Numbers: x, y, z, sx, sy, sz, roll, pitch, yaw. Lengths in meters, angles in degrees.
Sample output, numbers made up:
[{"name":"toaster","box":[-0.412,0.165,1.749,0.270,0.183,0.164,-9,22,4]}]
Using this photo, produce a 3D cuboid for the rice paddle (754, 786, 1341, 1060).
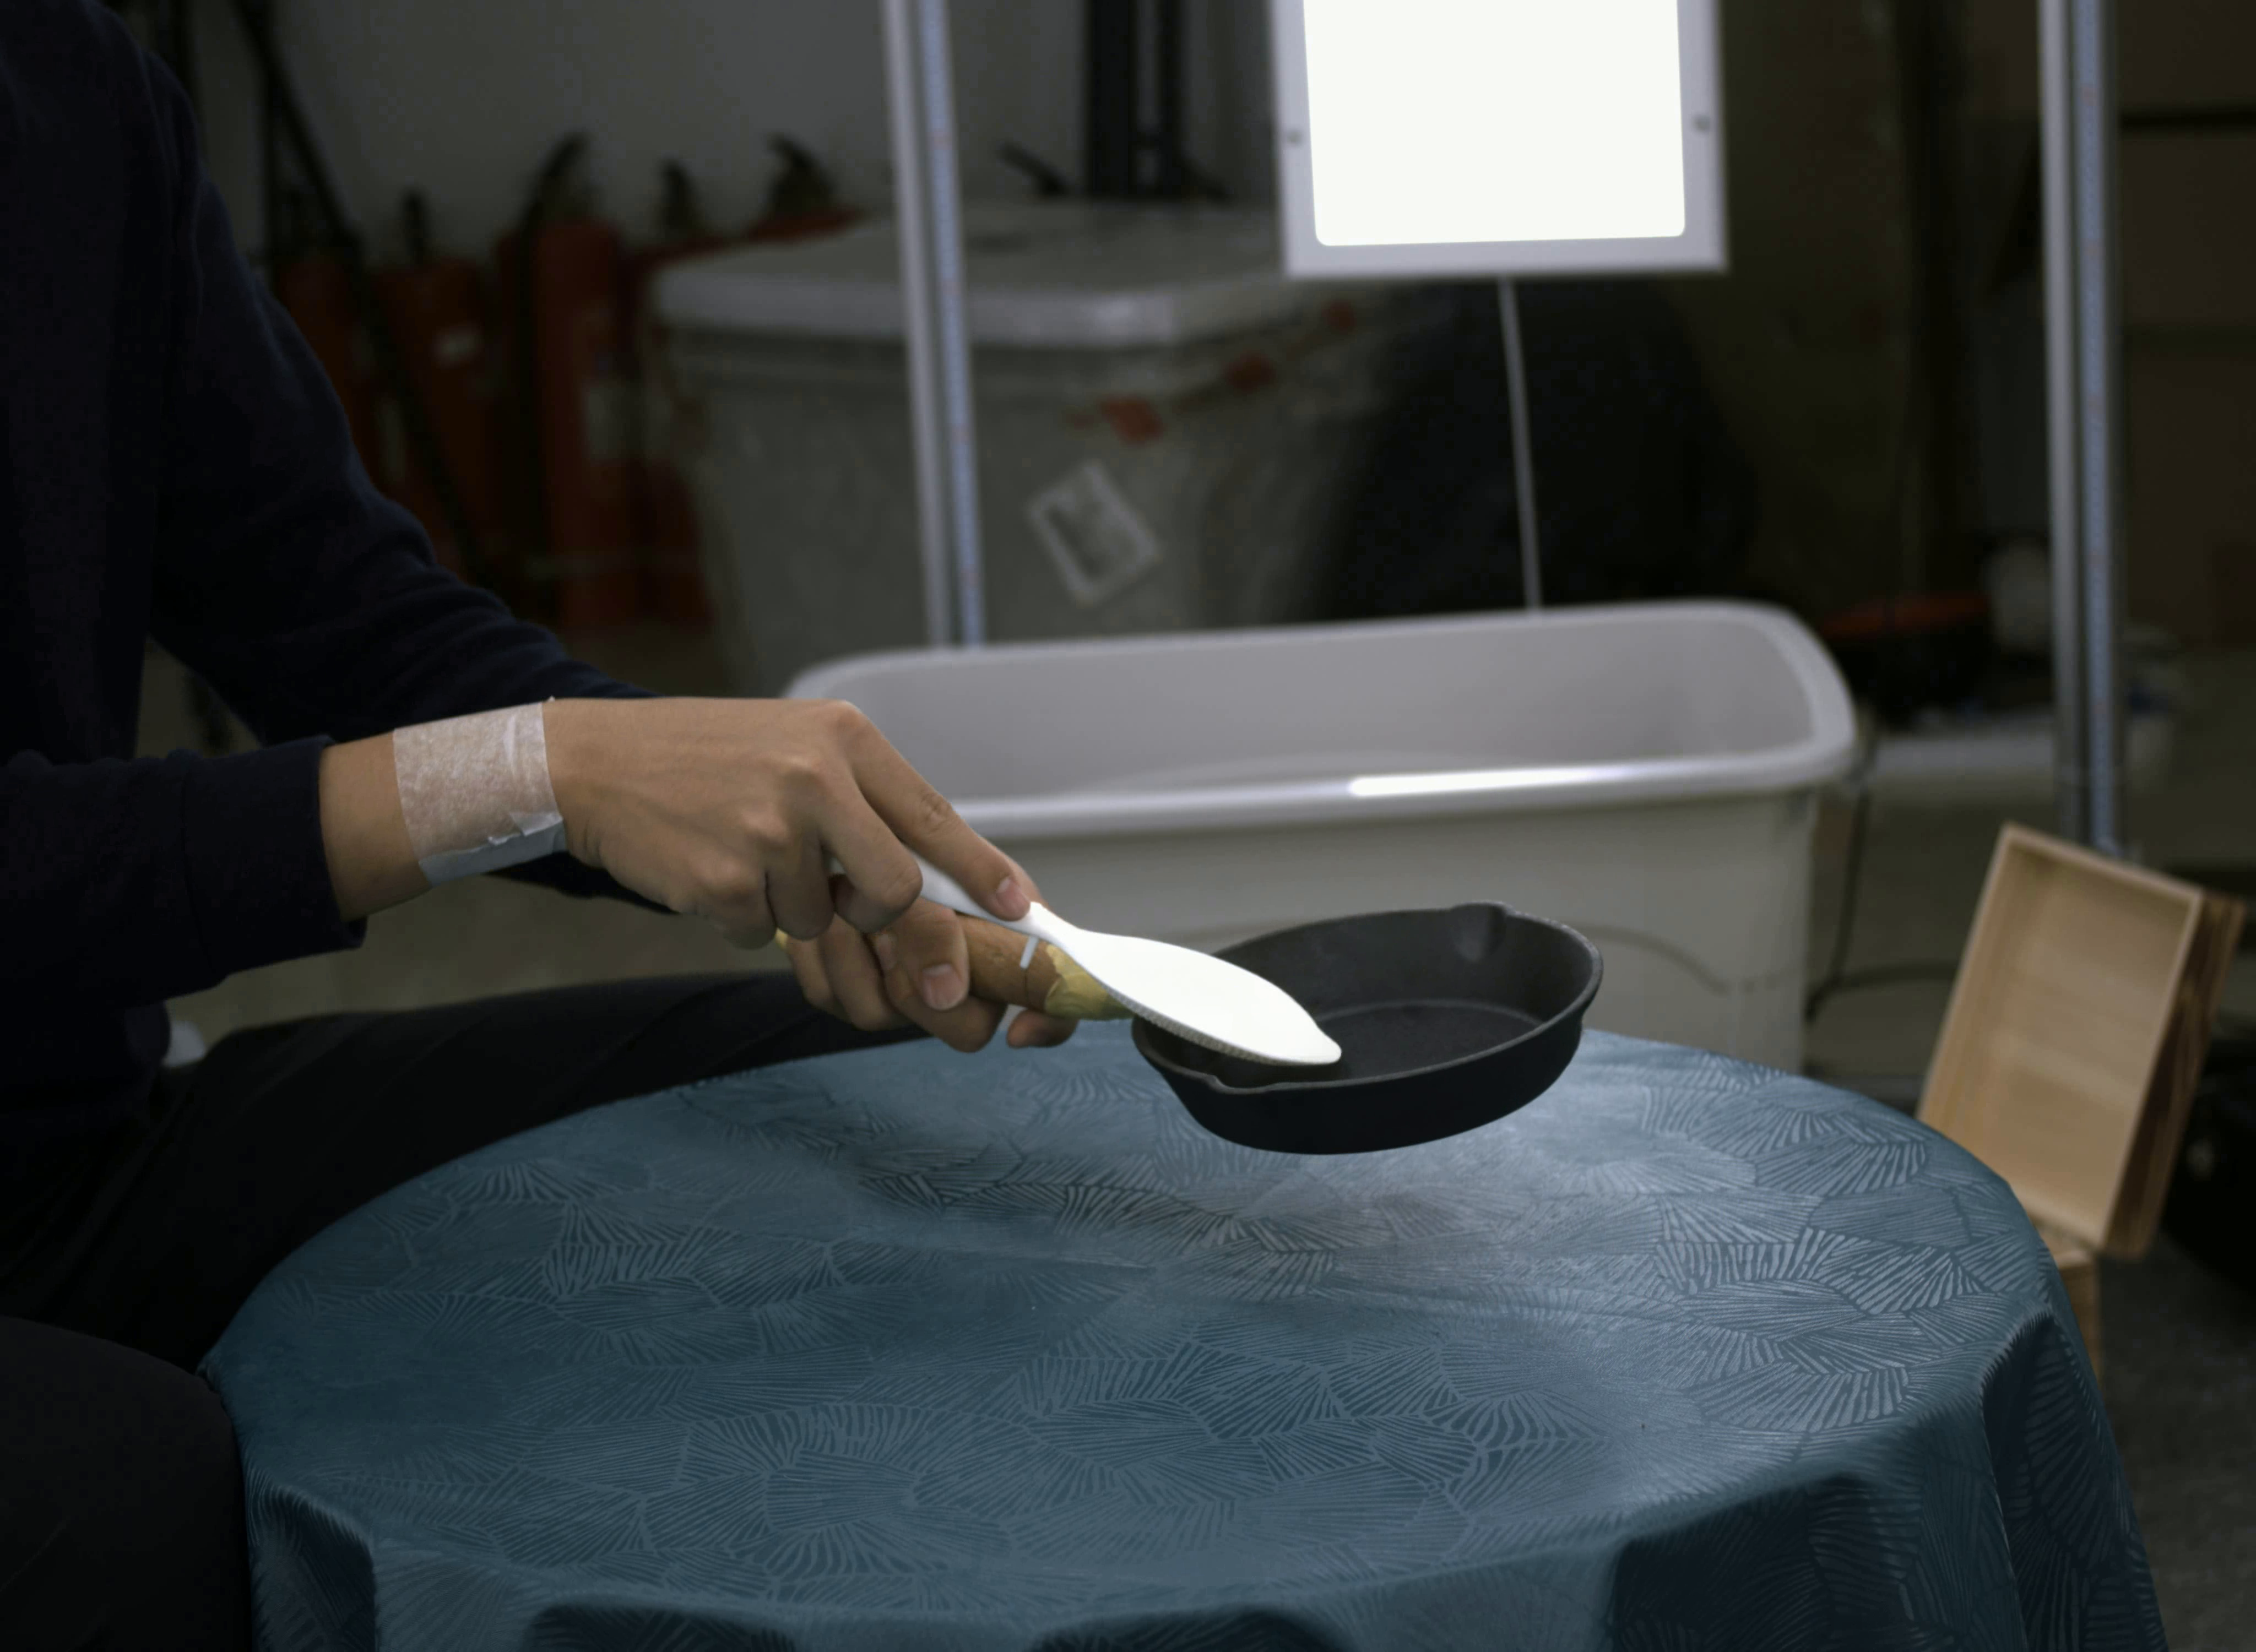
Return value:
[{"name":"rice paddle","box":[-0.024,0.035,1.830,0.205,0.030,0.068,20,21,4]}]

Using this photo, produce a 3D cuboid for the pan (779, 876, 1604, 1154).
[{"name":"pan","box":[0.013,0.055,1.865,0.331,0.050,0.165,6,24,38]}]
